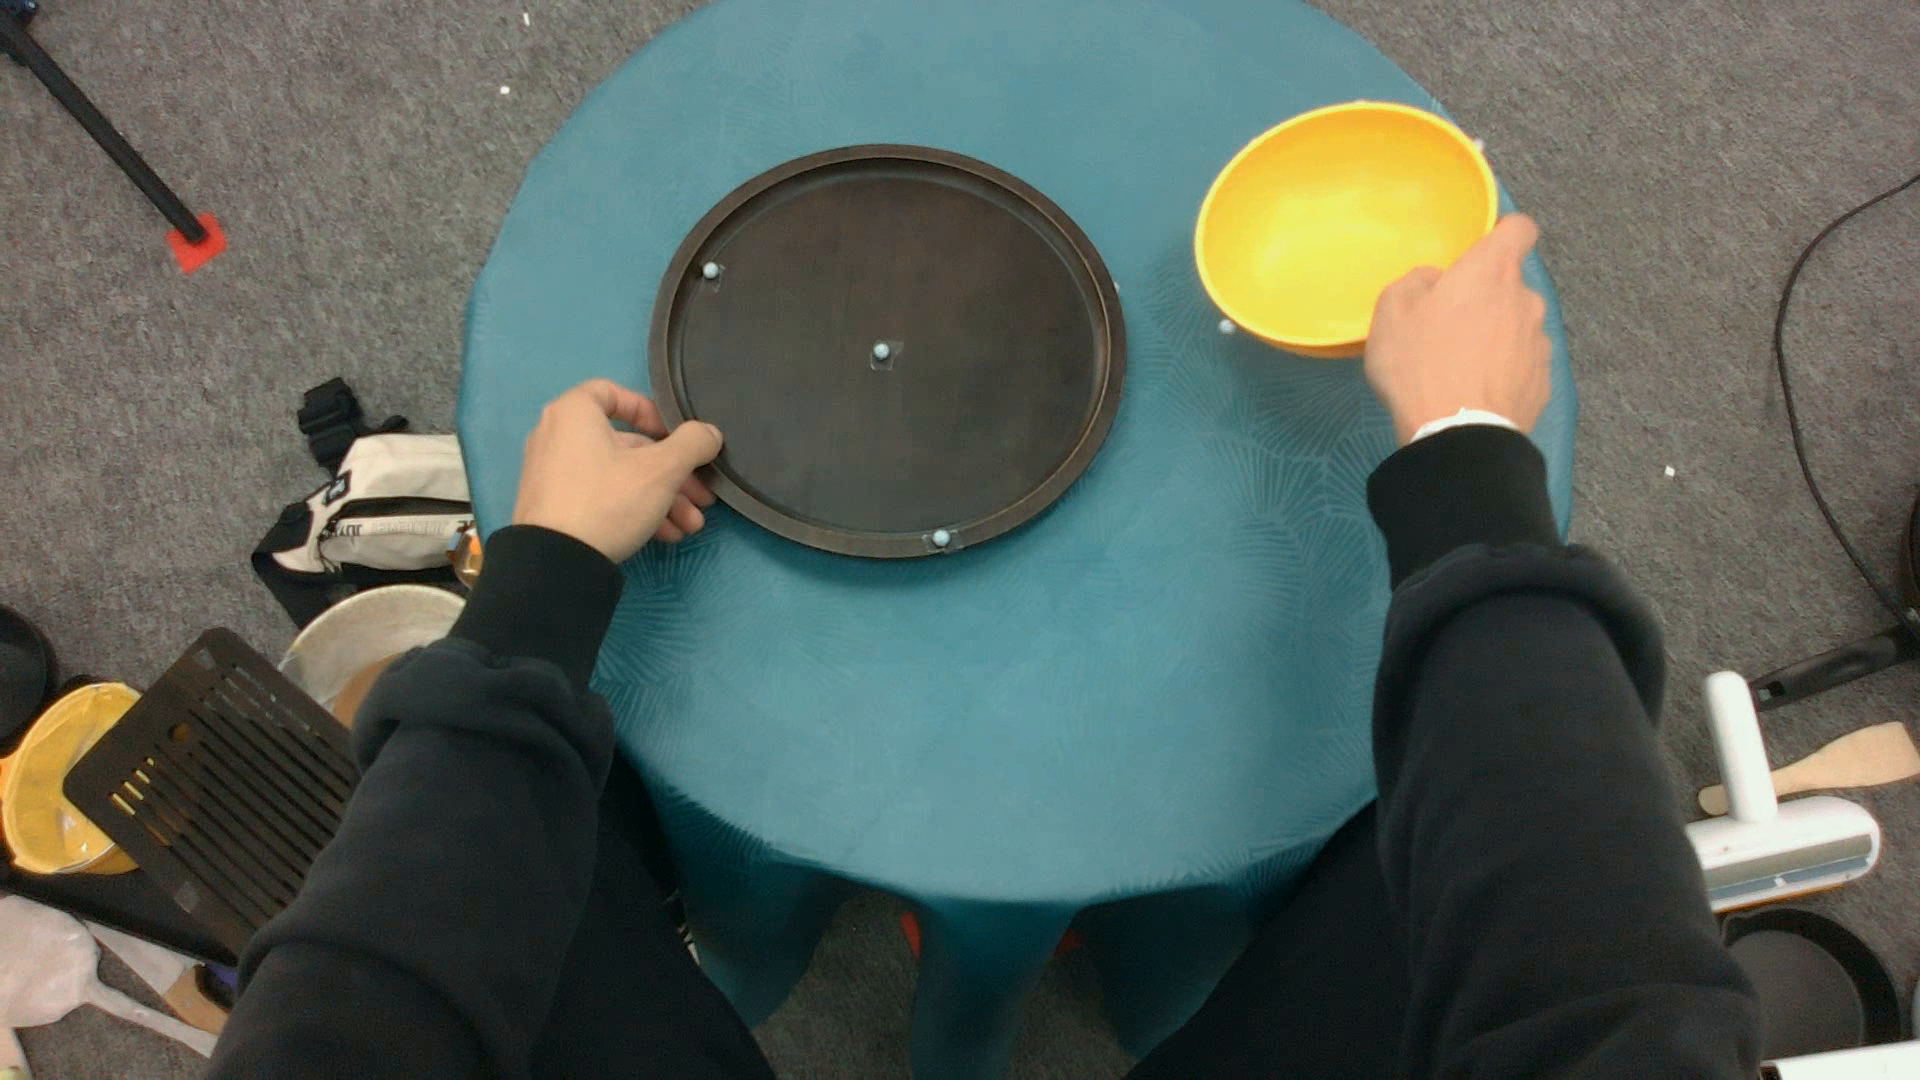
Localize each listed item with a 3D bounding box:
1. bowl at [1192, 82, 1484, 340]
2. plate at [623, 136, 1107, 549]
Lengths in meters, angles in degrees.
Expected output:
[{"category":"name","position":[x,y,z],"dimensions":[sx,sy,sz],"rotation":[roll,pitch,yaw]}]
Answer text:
[{"category":"bowl","position":[0.198,-0.158,0.711],"dimensions":[0.145,0.060,0.146],"rotation":[-11,64,23]},{"category":"plate","position":[-0.049,-0.110,0.728],"dimensions":[0.255,0.029,0.255],"rotation":[2,67,-5]}]
